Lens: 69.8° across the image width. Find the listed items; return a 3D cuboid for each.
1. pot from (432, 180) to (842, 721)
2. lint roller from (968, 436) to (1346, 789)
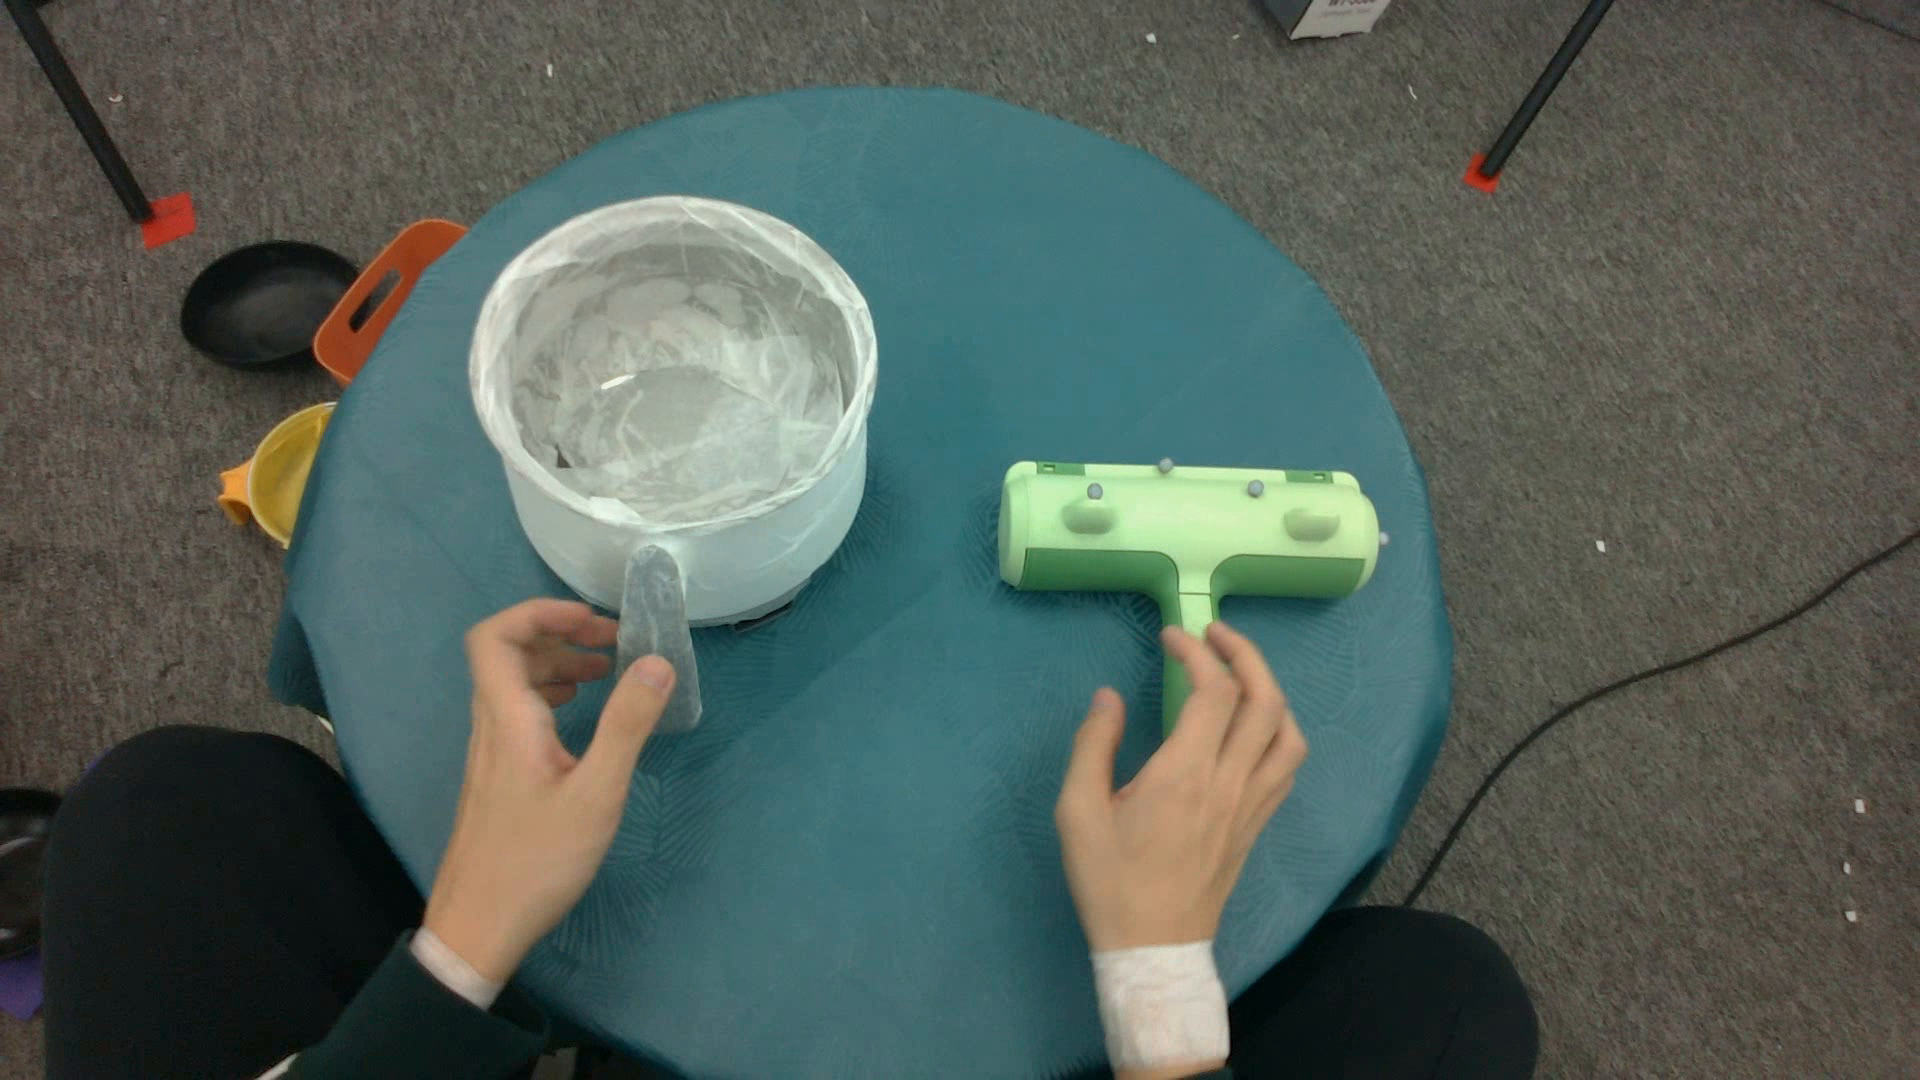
[{"bbox_3d":[-0.149,-0.038,0.657,0.179,0.136,0.234,2,64,-7],"label":"pot"},{"bbox_3d":[0.108,0.027,0.696,0.199,0.082,0.184,1,60,-8],"label":"lint roller"}]
